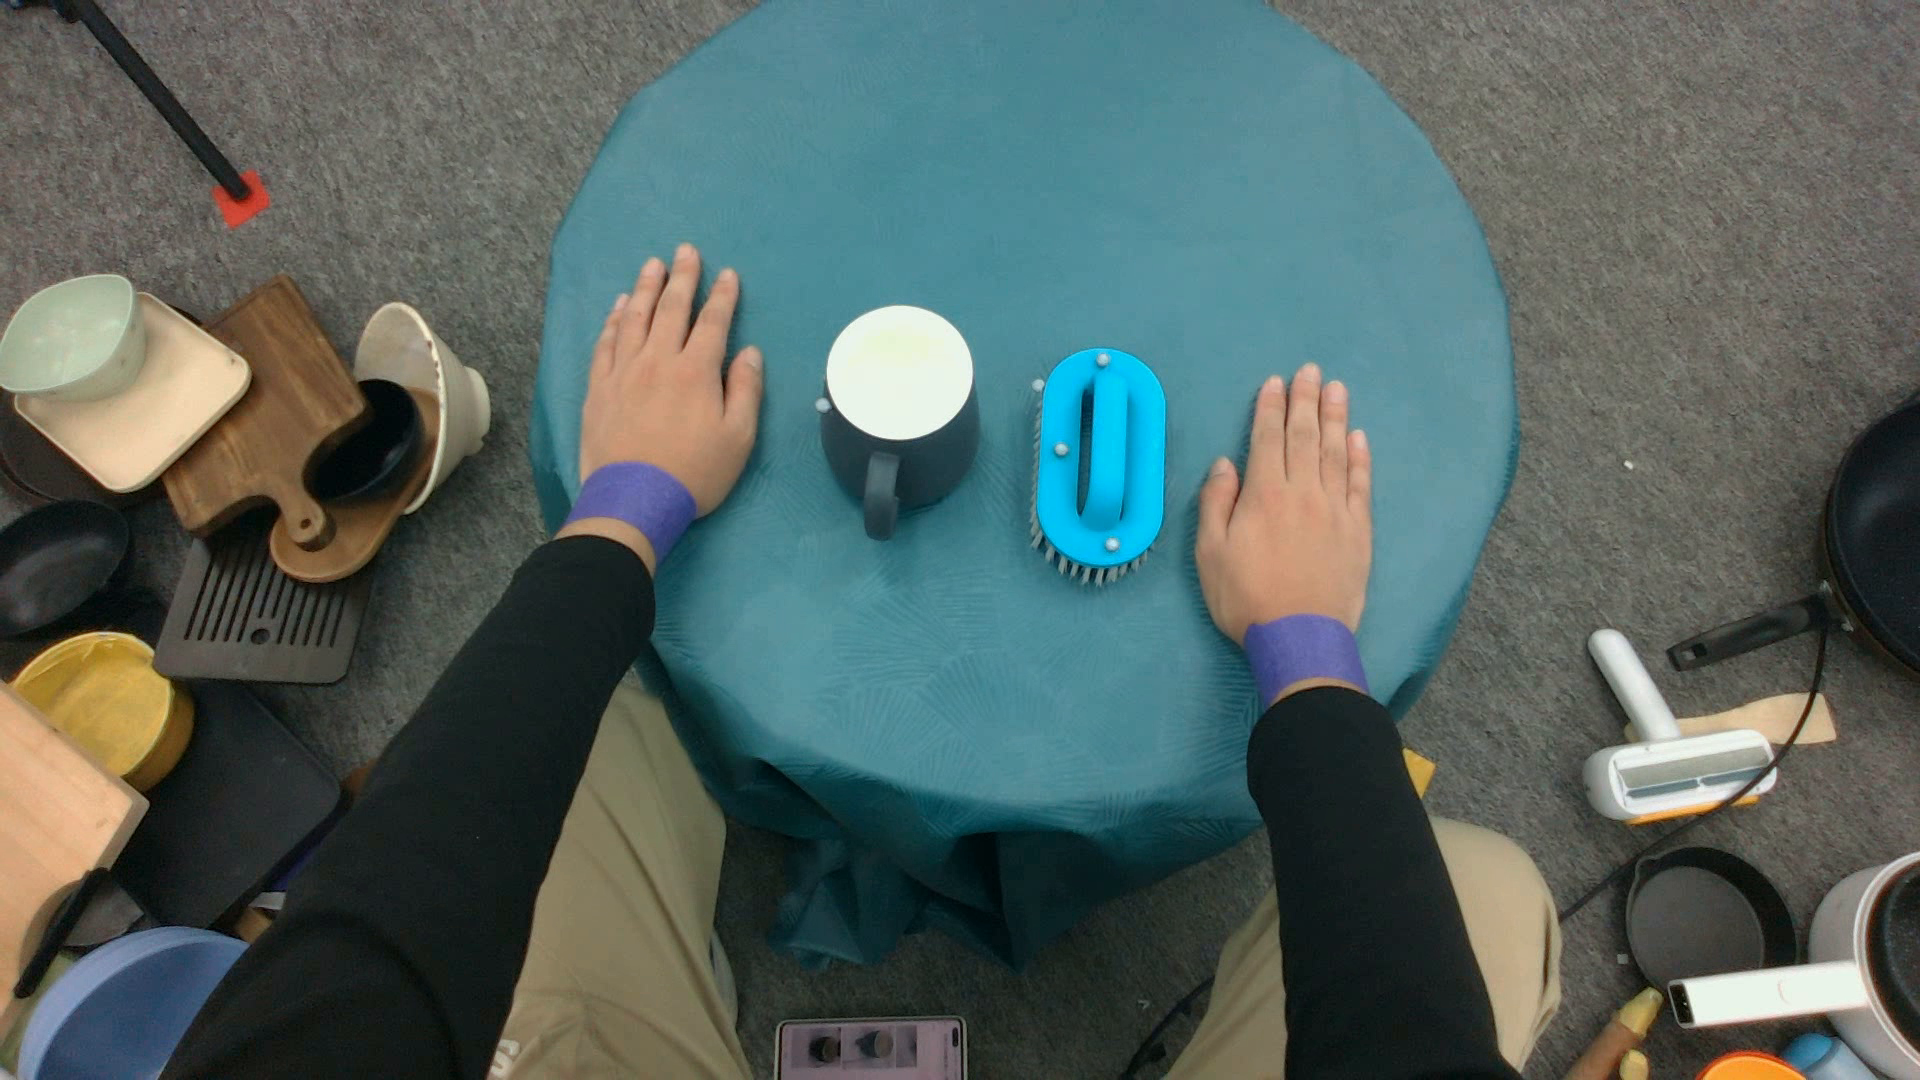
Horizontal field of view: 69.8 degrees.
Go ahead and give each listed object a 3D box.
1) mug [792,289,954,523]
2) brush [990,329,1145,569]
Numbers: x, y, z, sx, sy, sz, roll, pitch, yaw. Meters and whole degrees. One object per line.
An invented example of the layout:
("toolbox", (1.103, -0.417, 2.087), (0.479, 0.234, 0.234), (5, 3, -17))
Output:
("mug", (-0.052, -0.069, 0.767), (0.093, 0.089, 0.123), (10, 67, 1))
("brush", (0.064, -0.058, 0.786), (0.084, 0.063, 0.142), (7, 70, -6))
